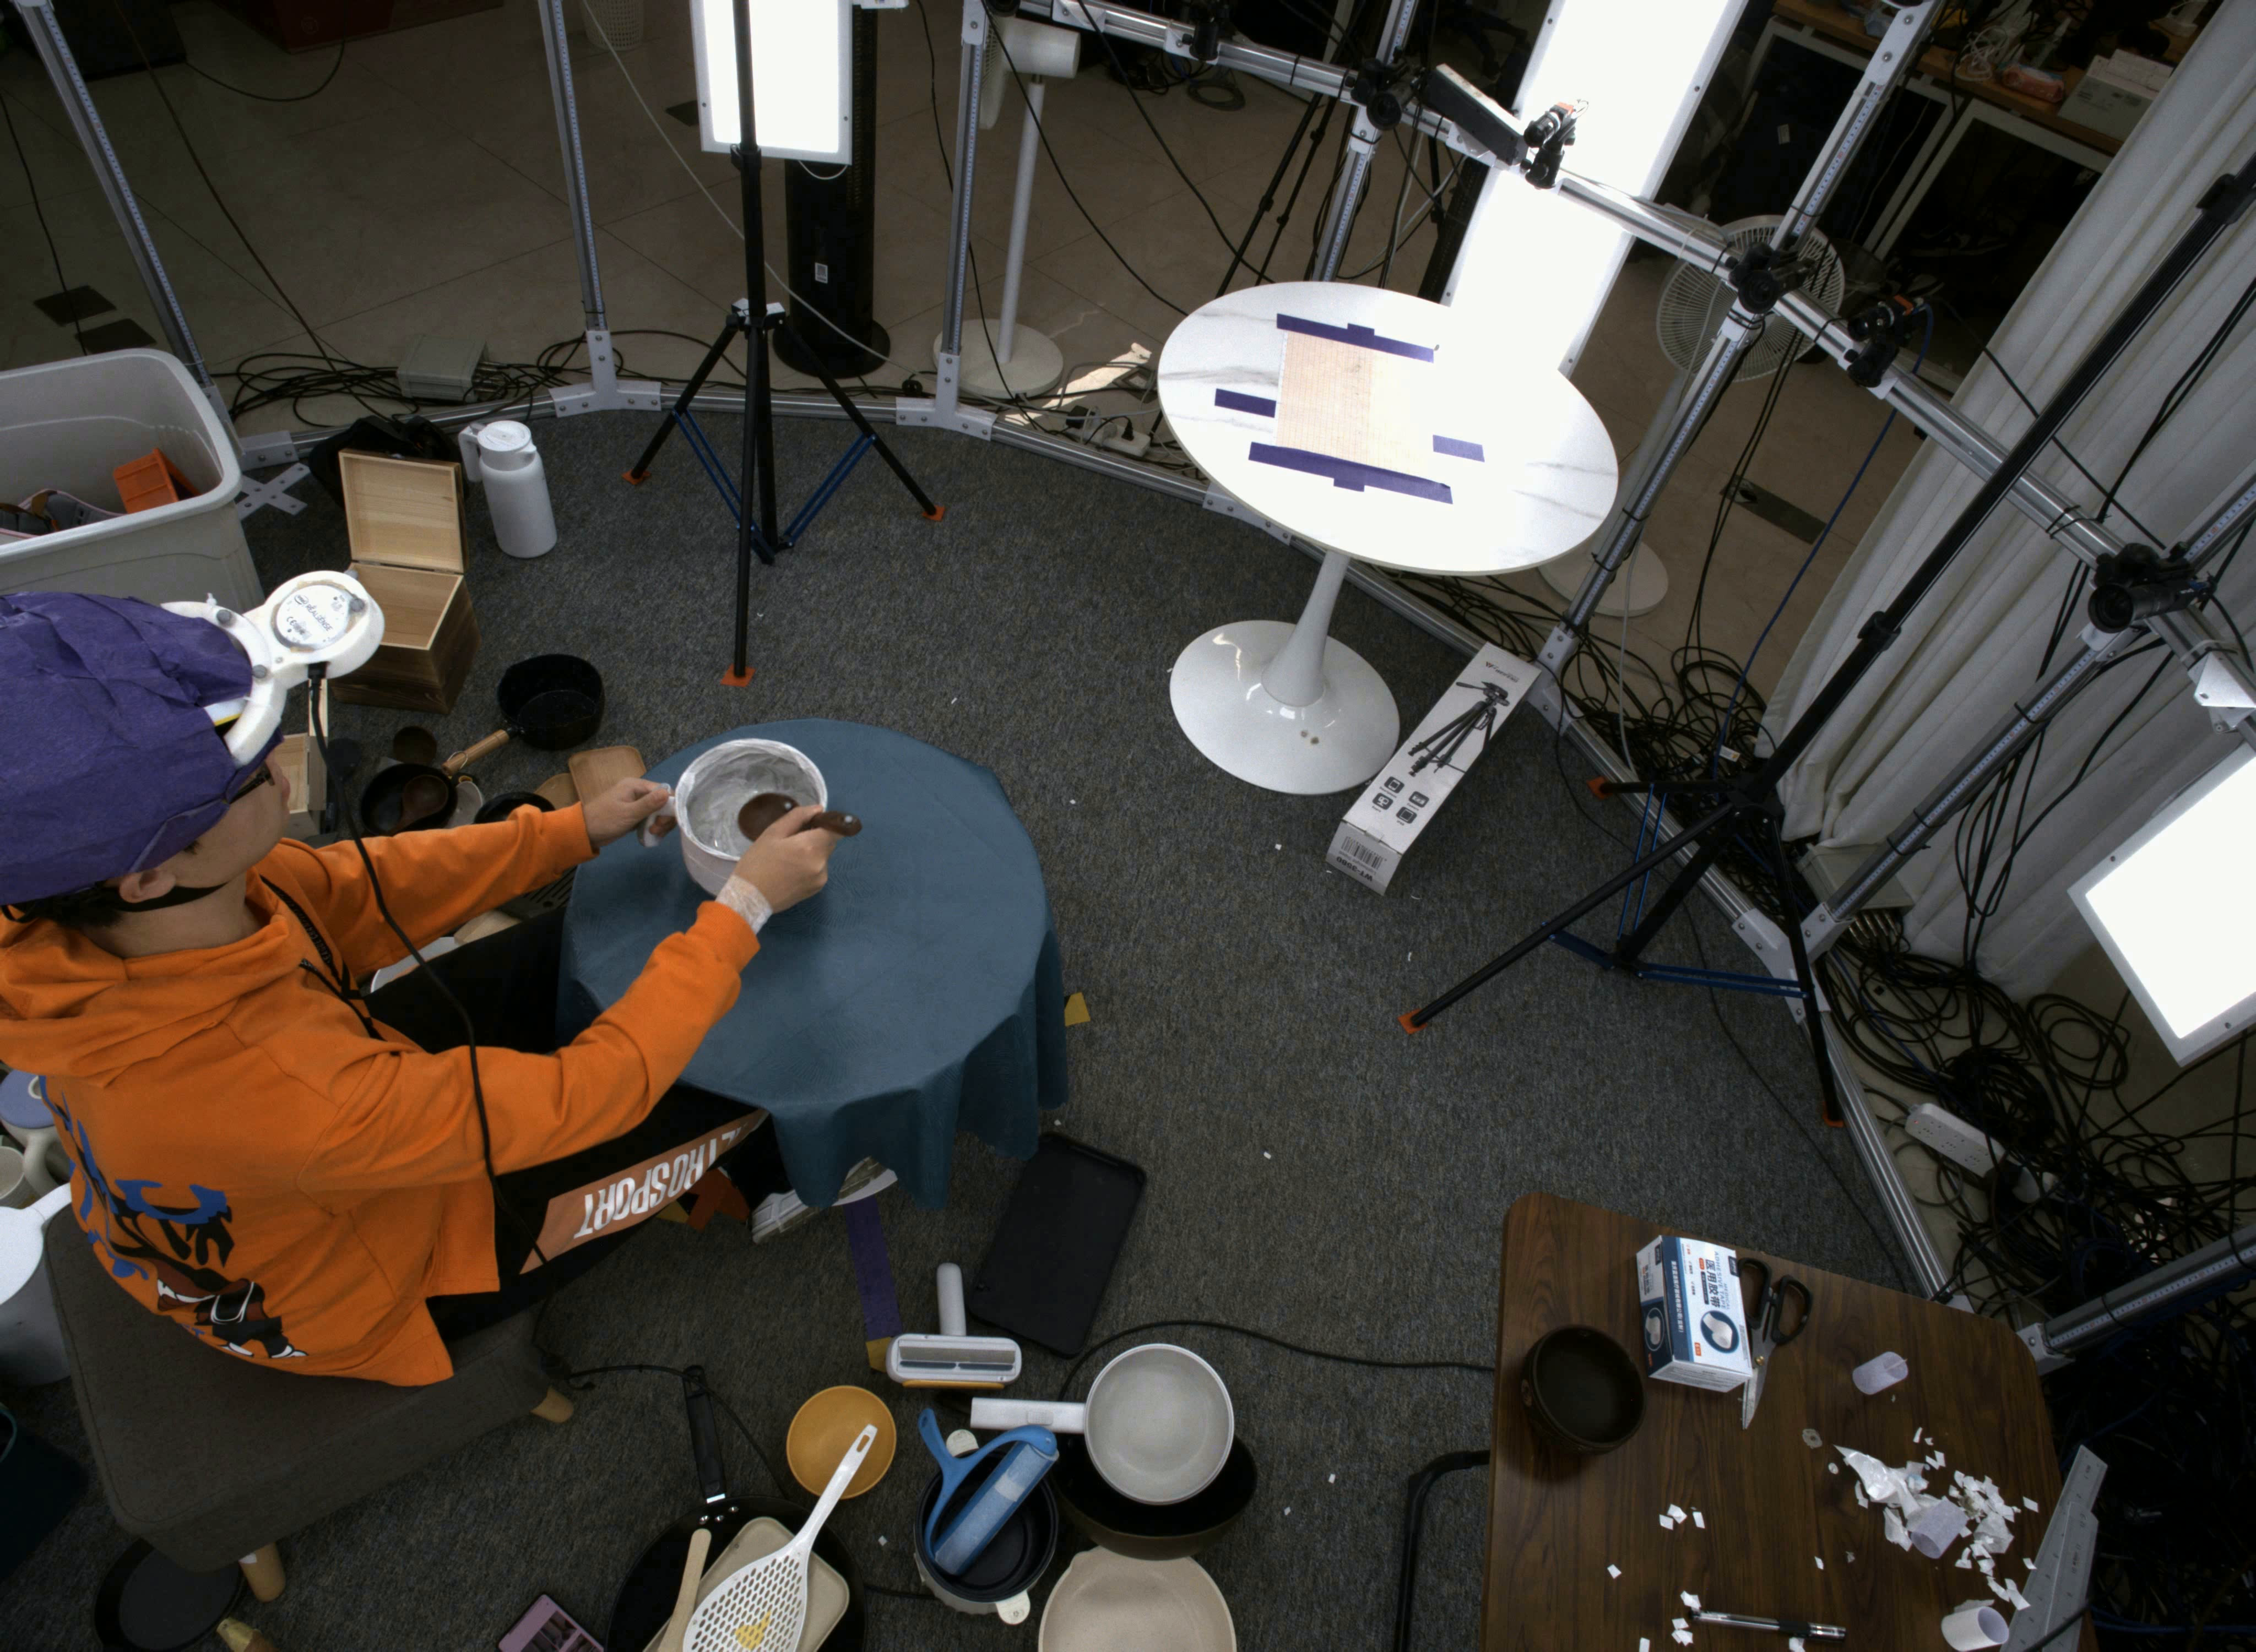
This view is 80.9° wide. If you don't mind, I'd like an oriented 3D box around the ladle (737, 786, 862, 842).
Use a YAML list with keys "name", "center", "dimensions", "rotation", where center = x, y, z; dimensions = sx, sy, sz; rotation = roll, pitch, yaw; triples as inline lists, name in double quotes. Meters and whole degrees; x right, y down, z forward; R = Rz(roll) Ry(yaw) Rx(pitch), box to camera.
- name: "ladle"
  center: [-0.368, -0.021, 1.443]
  dimensions: [0.076, 0.253, 0.067]
  rotation: [-45, 110, -28]

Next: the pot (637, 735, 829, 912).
- name: "pot"
  center: [-0.478, -0.001, 1.555]
  dimensions: [0.233, 0.139, 0.175]
  rotation: [5, 55, -10]
